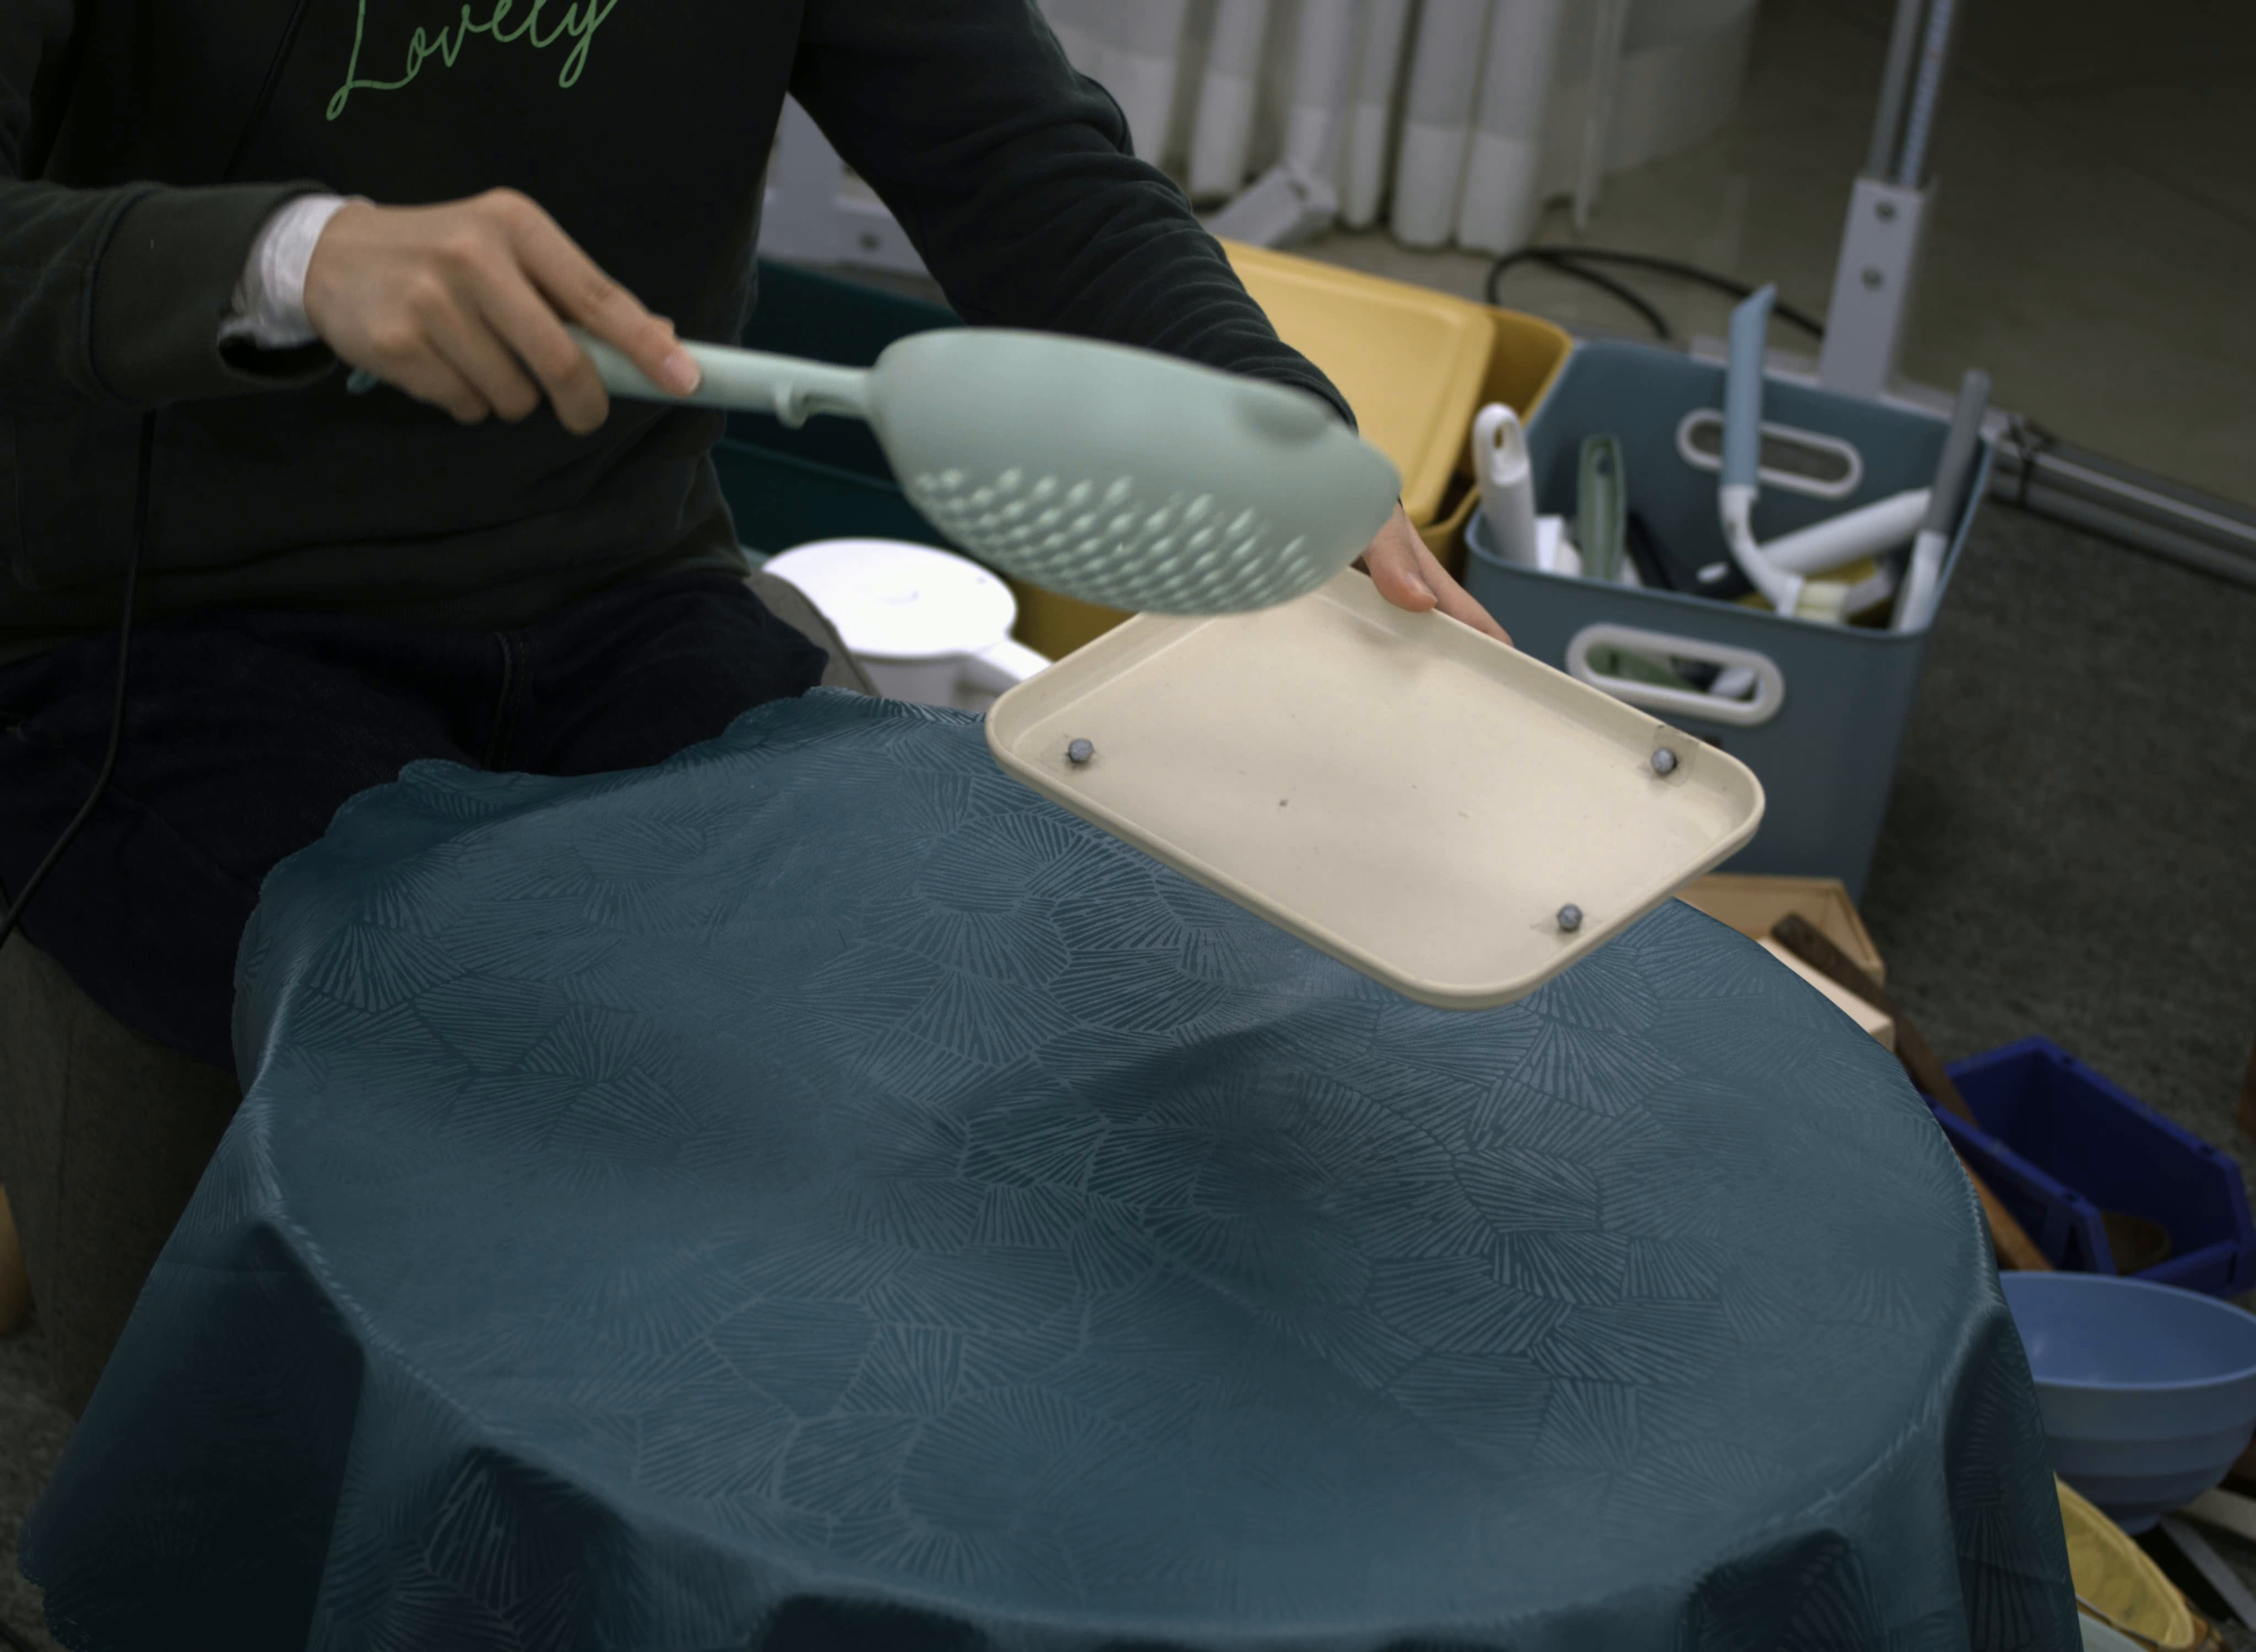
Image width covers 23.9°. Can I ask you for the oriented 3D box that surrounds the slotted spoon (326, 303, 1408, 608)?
[{"bbox_3d":[-0.089,-0.134,1.710,0.360,0.075,0.168,18,-10,18],"label":"slotted spoon"}]

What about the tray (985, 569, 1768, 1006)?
[{"bbox_3d":[0.083,-0.016,1.800,0.241,0.017,0.171,27,44,36],"label":"tray"}]
